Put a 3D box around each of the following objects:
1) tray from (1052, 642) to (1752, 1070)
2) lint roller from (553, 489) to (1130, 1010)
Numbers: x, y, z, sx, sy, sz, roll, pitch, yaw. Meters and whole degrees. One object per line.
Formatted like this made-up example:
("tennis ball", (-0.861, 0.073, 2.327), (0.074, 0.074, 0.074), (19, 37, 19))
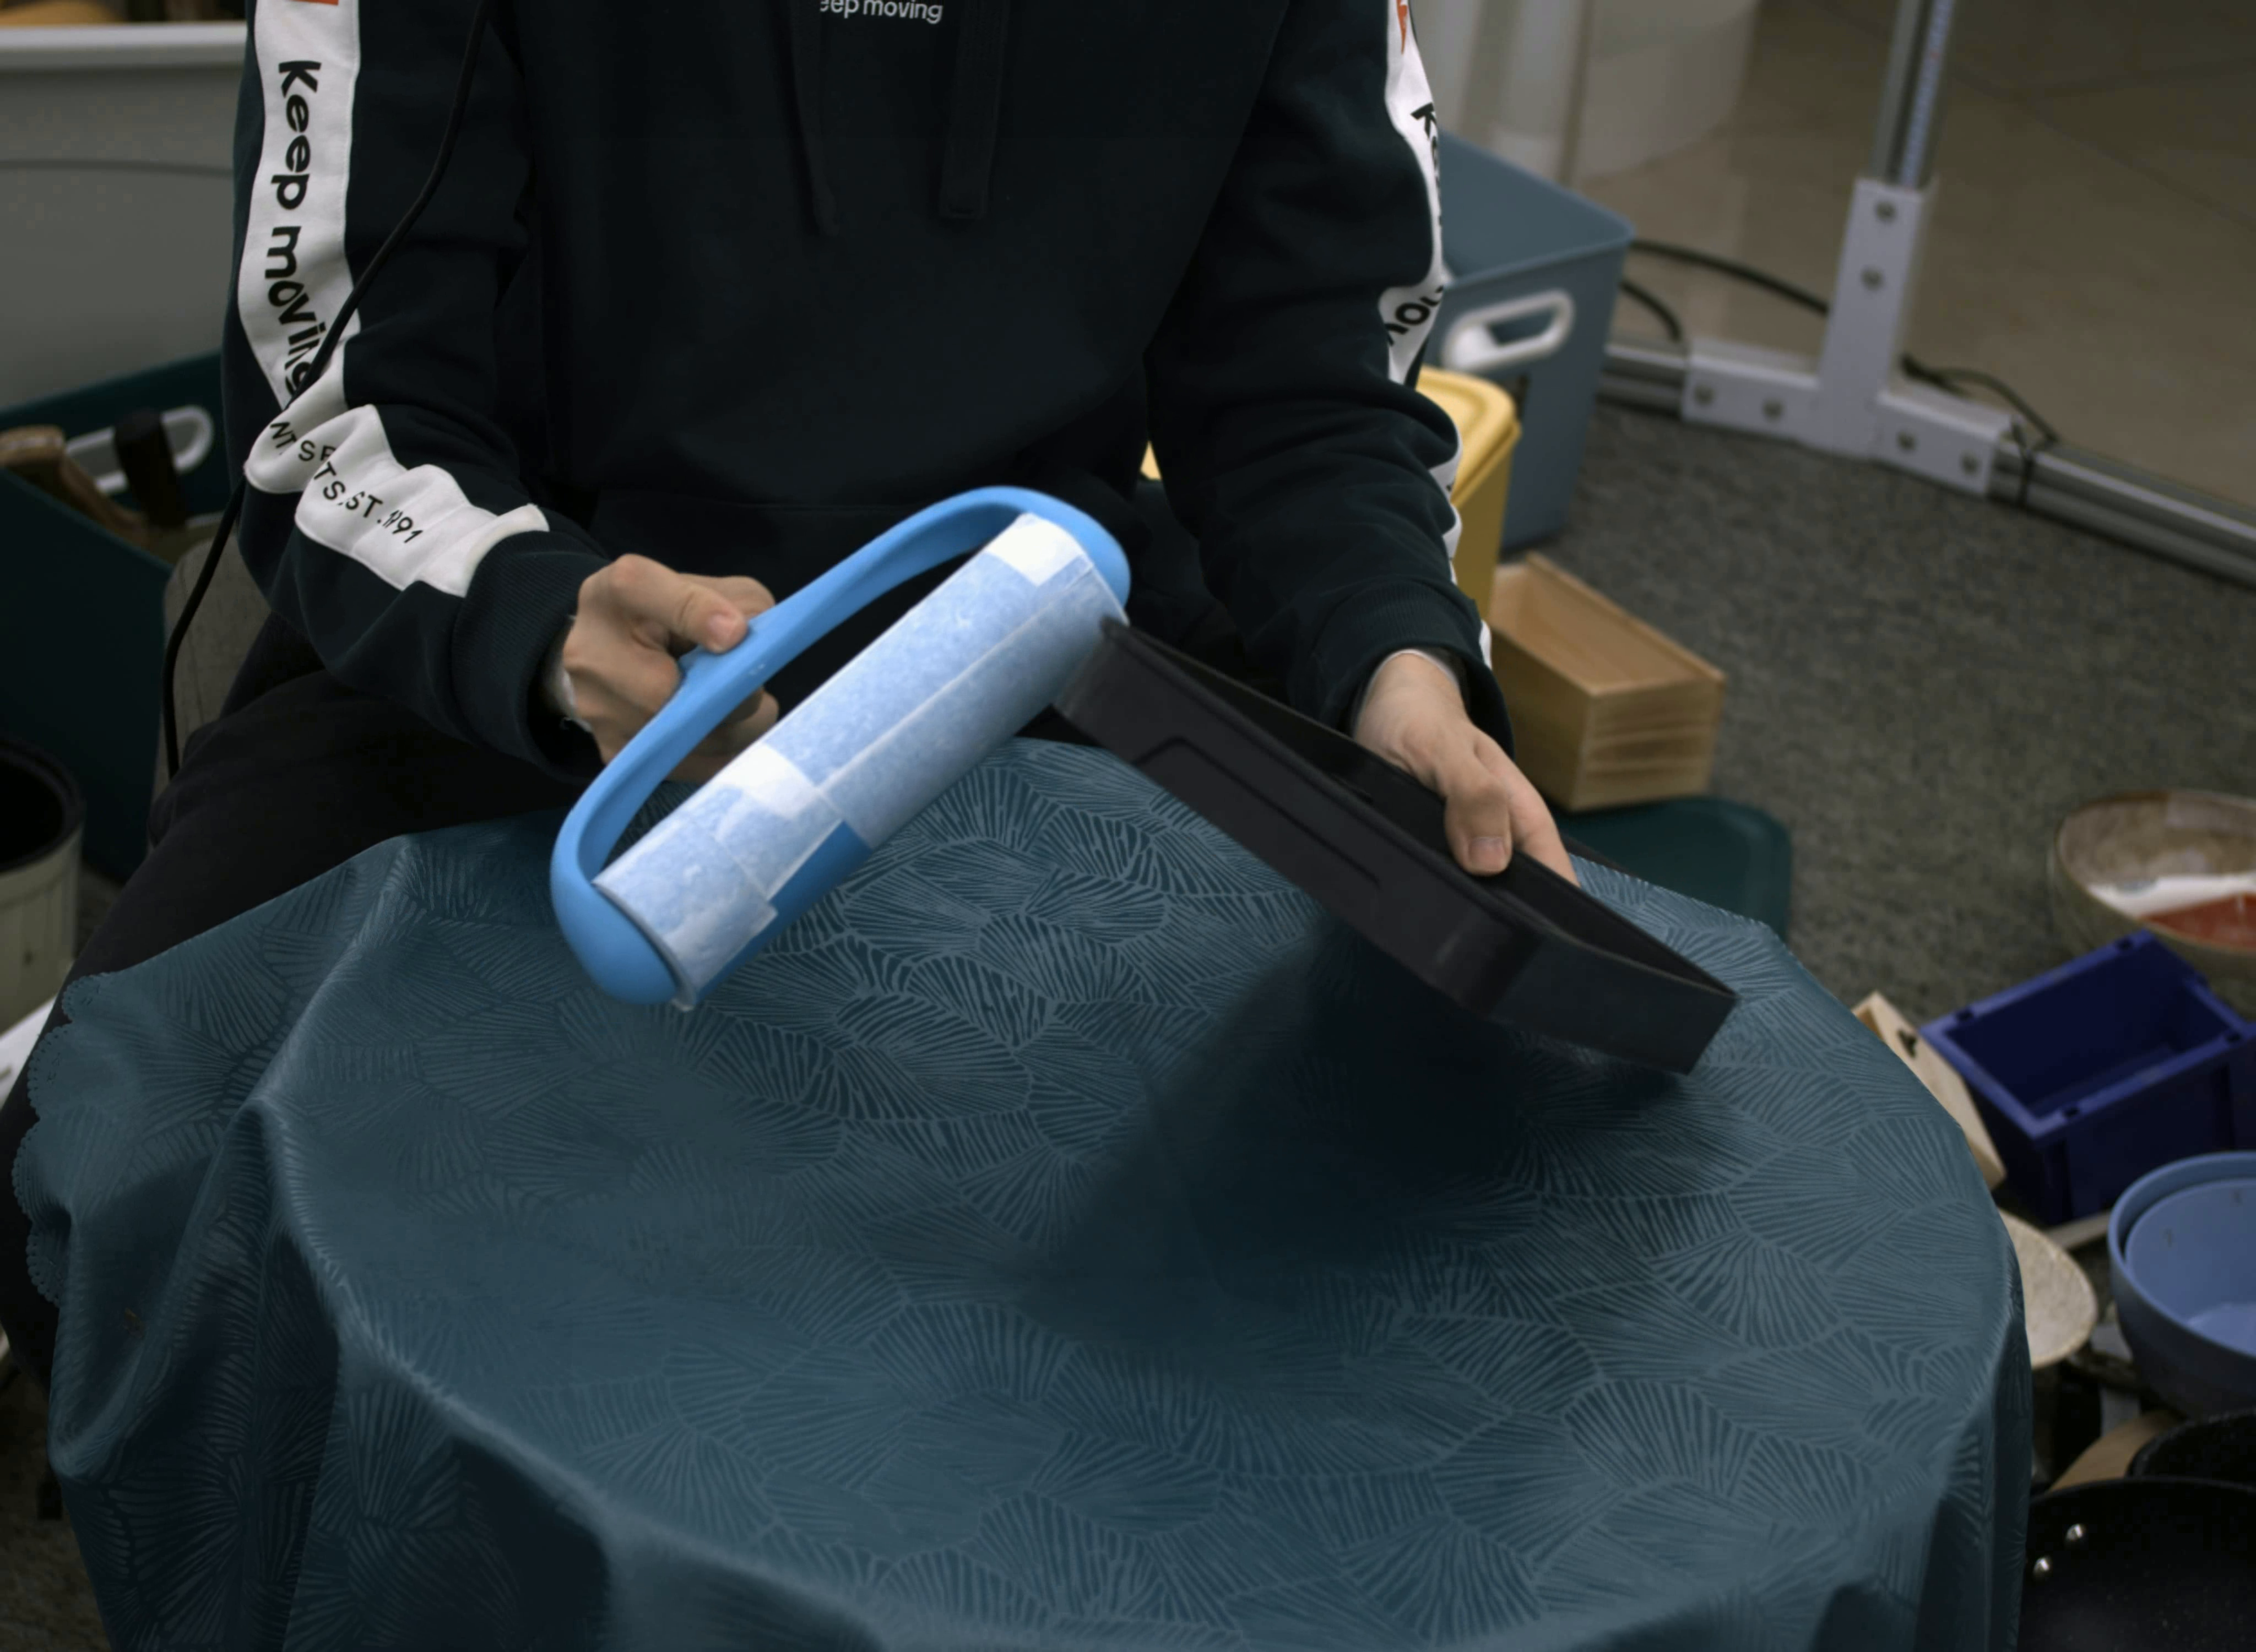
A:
("tray", (0.098, 0.015, 1.799), (0.185, 0.037, 0.316), (34, 6, 19))
("lint roller", (-0.121, -0.034, 1.785), (0.229, 0.067, 0.181), (-44, 31, -18))
